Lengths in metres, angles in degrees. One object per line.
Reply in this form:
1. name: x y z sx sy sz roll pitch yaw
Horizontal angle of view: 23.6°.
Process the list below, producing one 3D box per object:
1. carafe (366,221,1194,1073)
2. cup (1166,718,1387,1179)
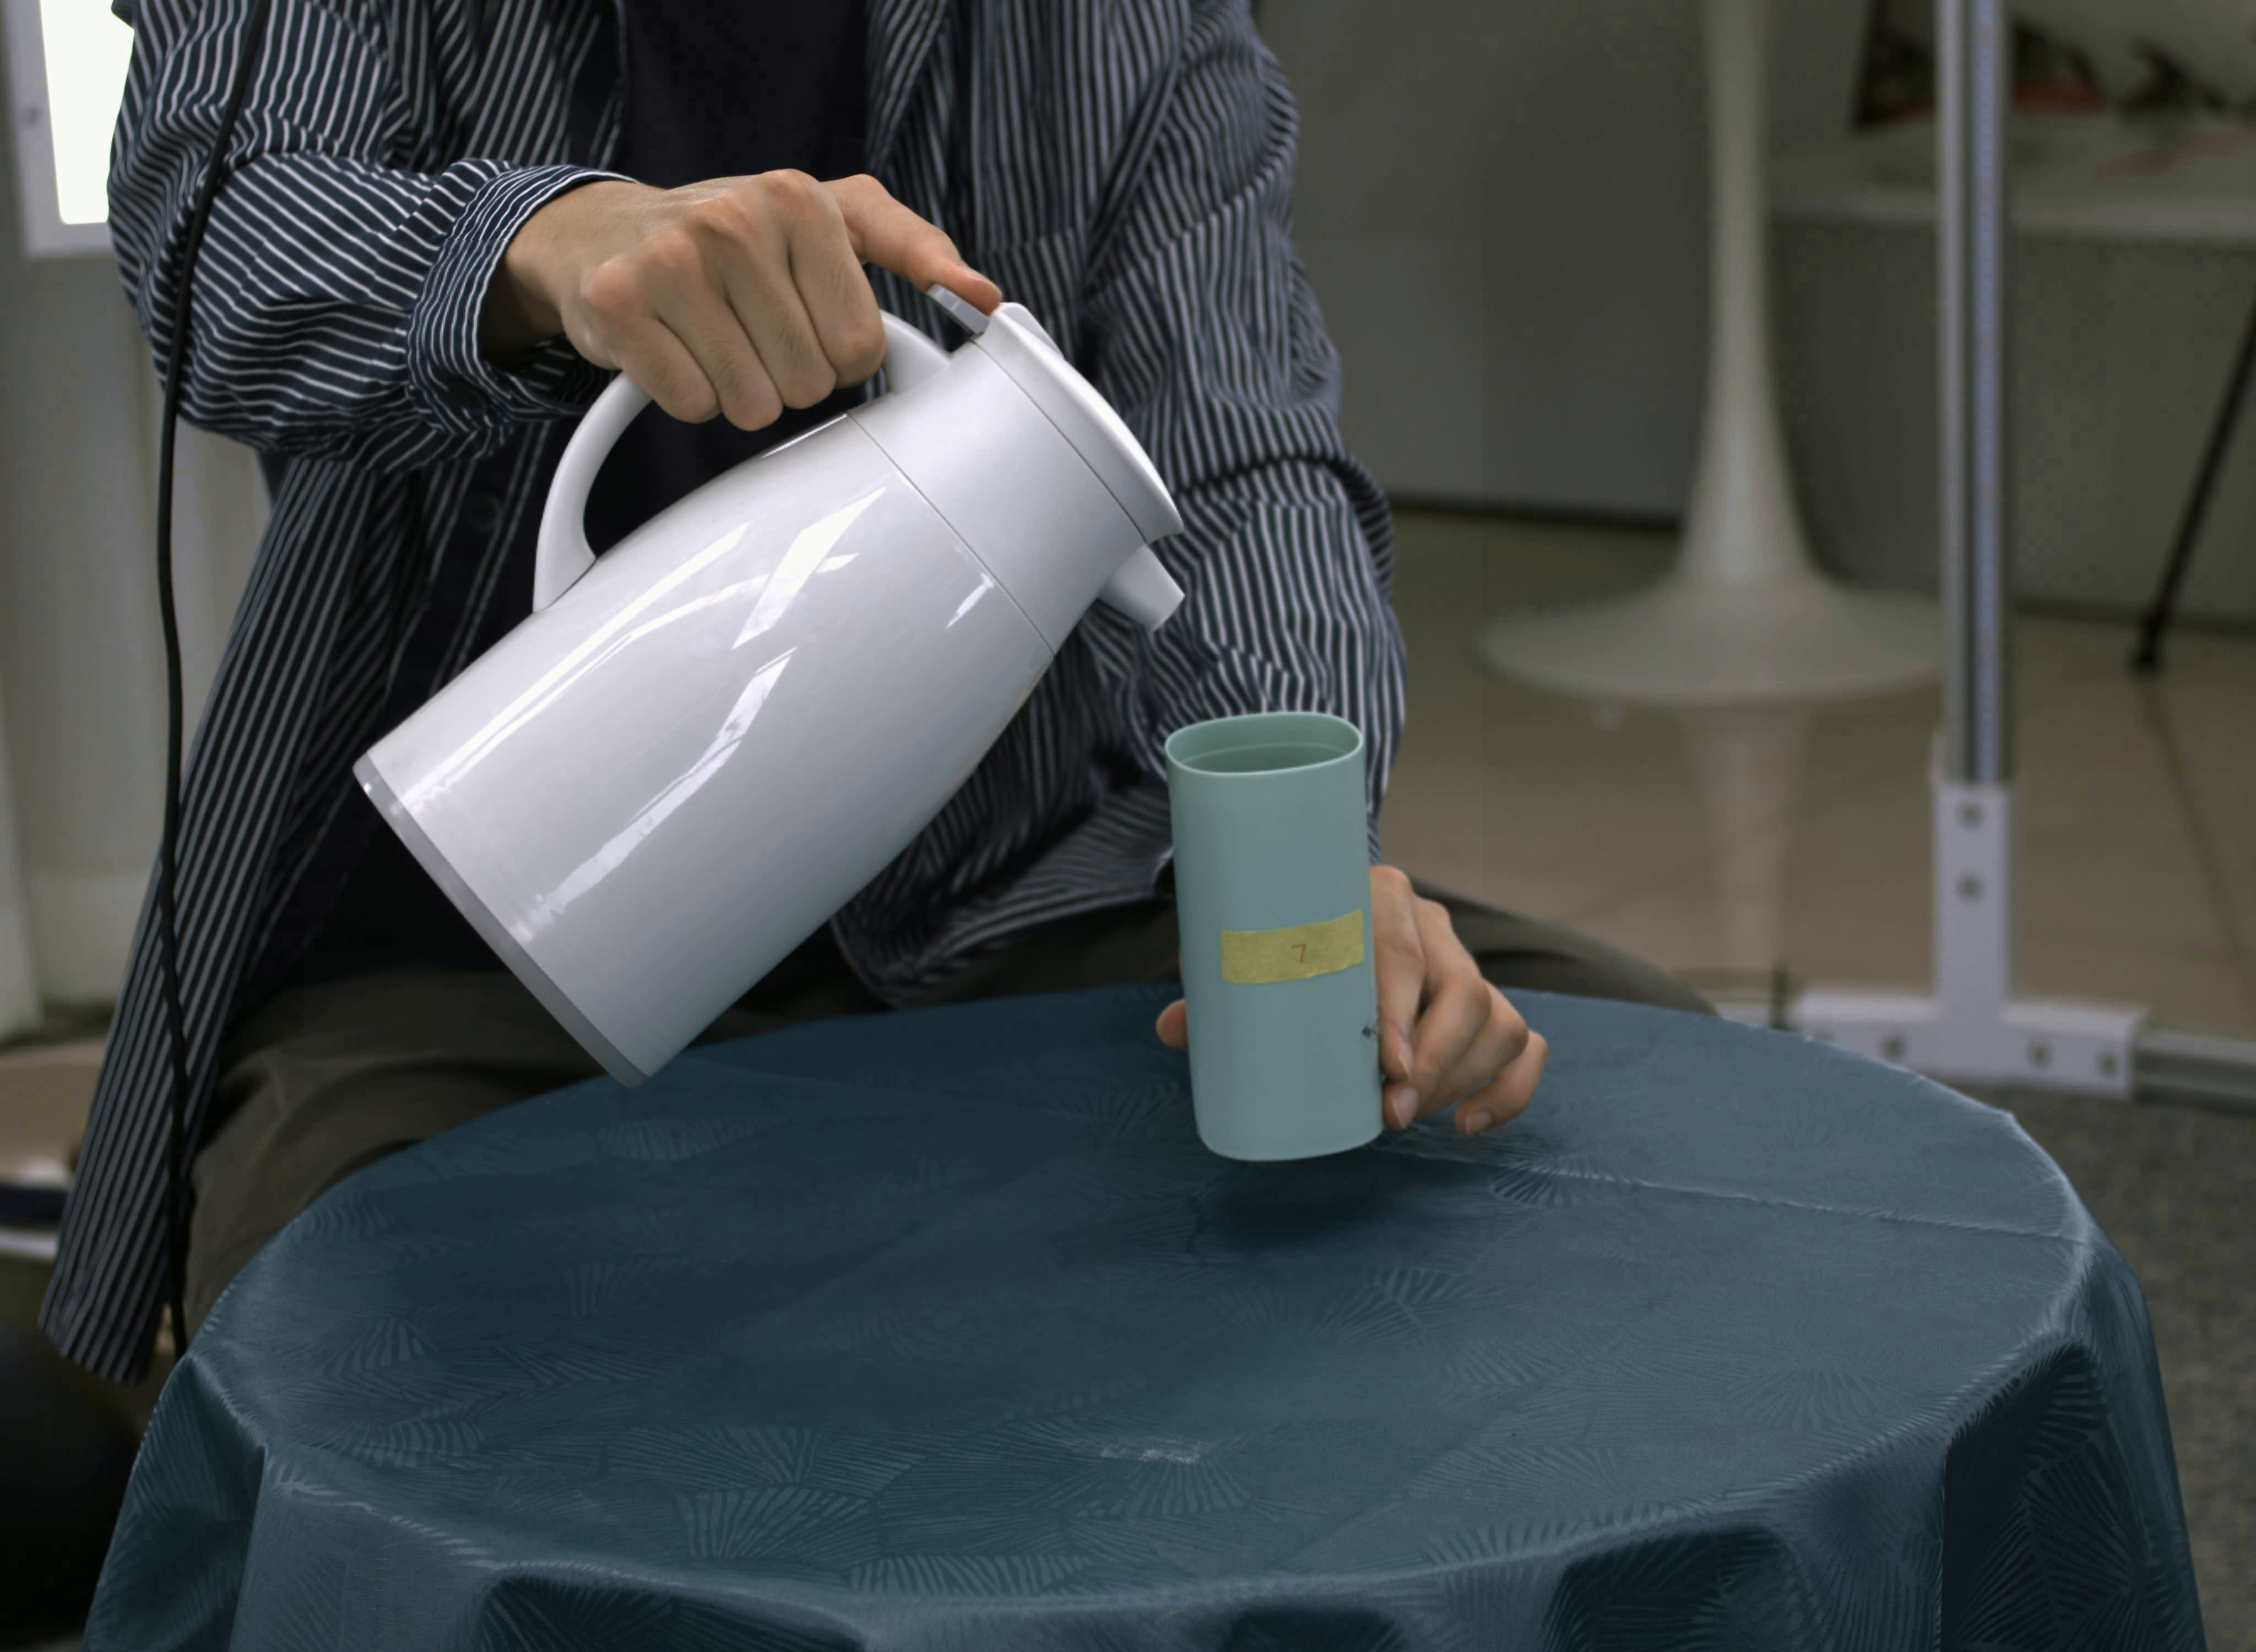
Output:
1. carafe: -0.108 -0.071 1.636 0.248 0.167 0.133 -42 9 -1
2. cup: 0.048 0.038 1.707 0.066 0.133 0.067 -5 17 1
